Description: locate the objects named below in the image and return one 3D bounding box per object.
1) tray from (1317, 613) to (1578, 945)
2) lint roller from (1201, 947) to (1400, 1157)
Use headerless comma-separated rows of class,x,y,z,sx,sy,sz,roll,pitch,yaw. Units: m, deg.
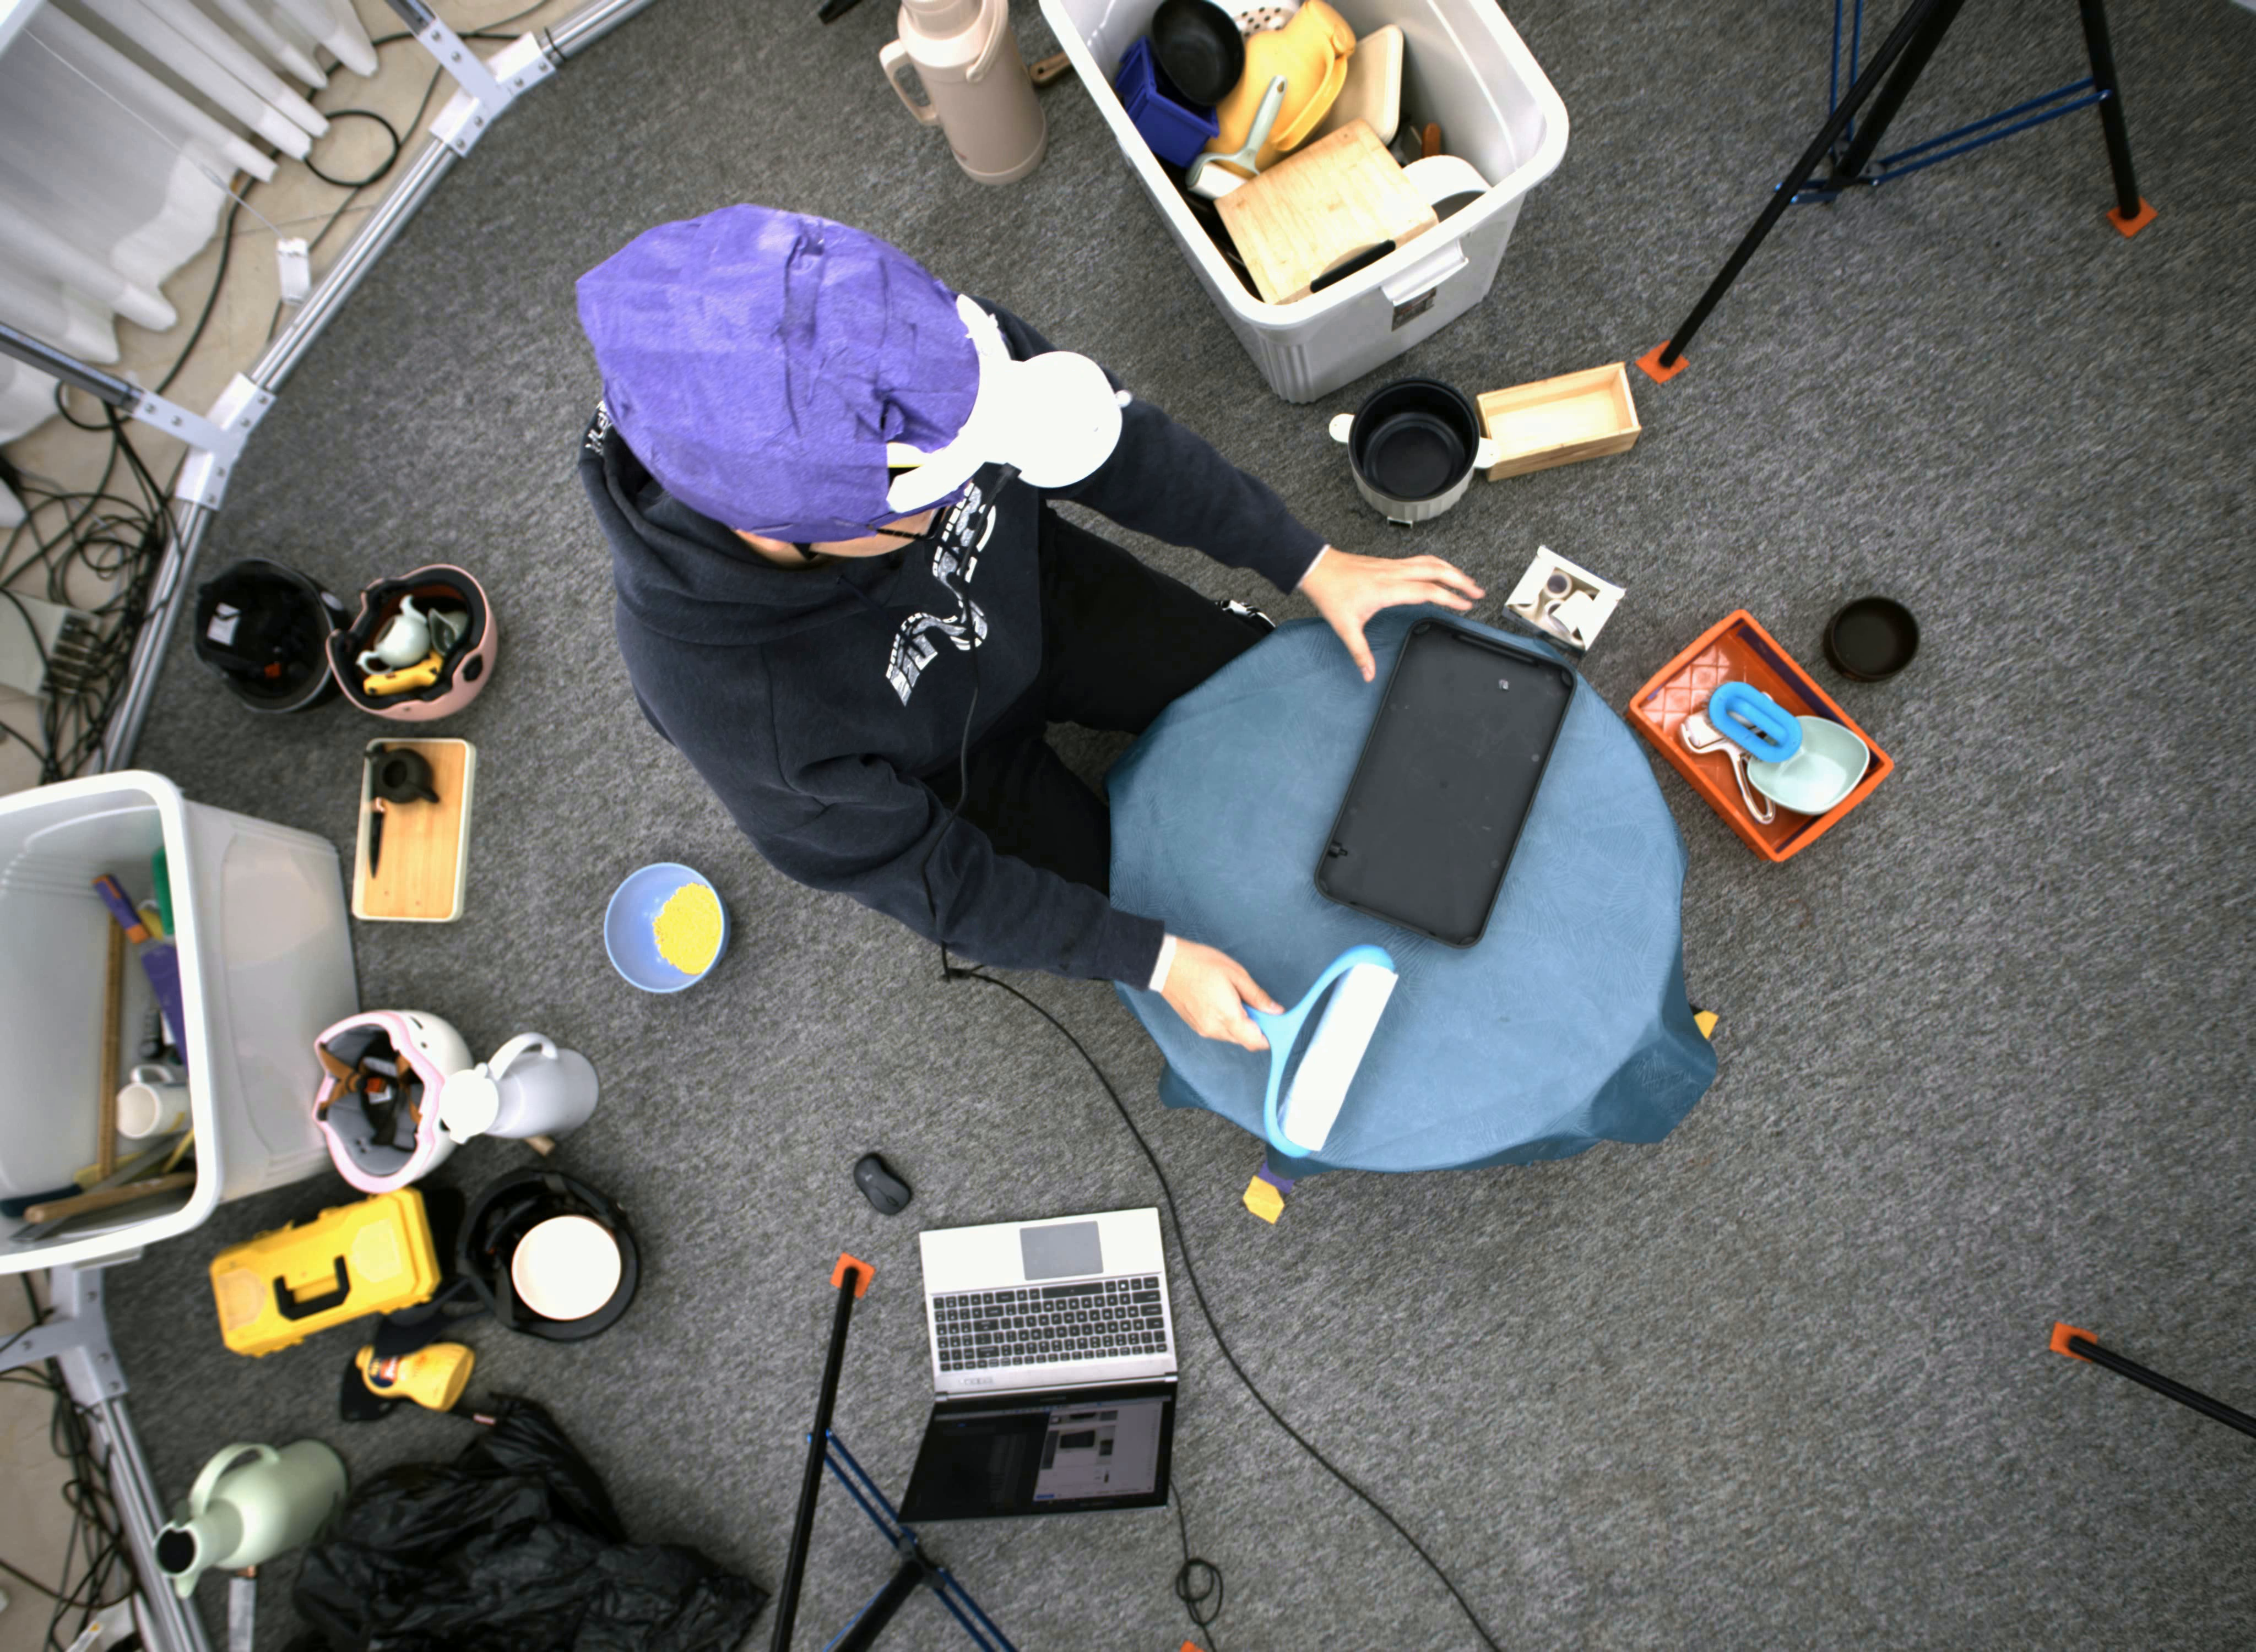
tray,0.334,-0.051,1.441,0.184,0.037,0.318,20,93,12
lint roller,0.157,0.207,1.408,0.180,0.067,0.230,22,96,2
